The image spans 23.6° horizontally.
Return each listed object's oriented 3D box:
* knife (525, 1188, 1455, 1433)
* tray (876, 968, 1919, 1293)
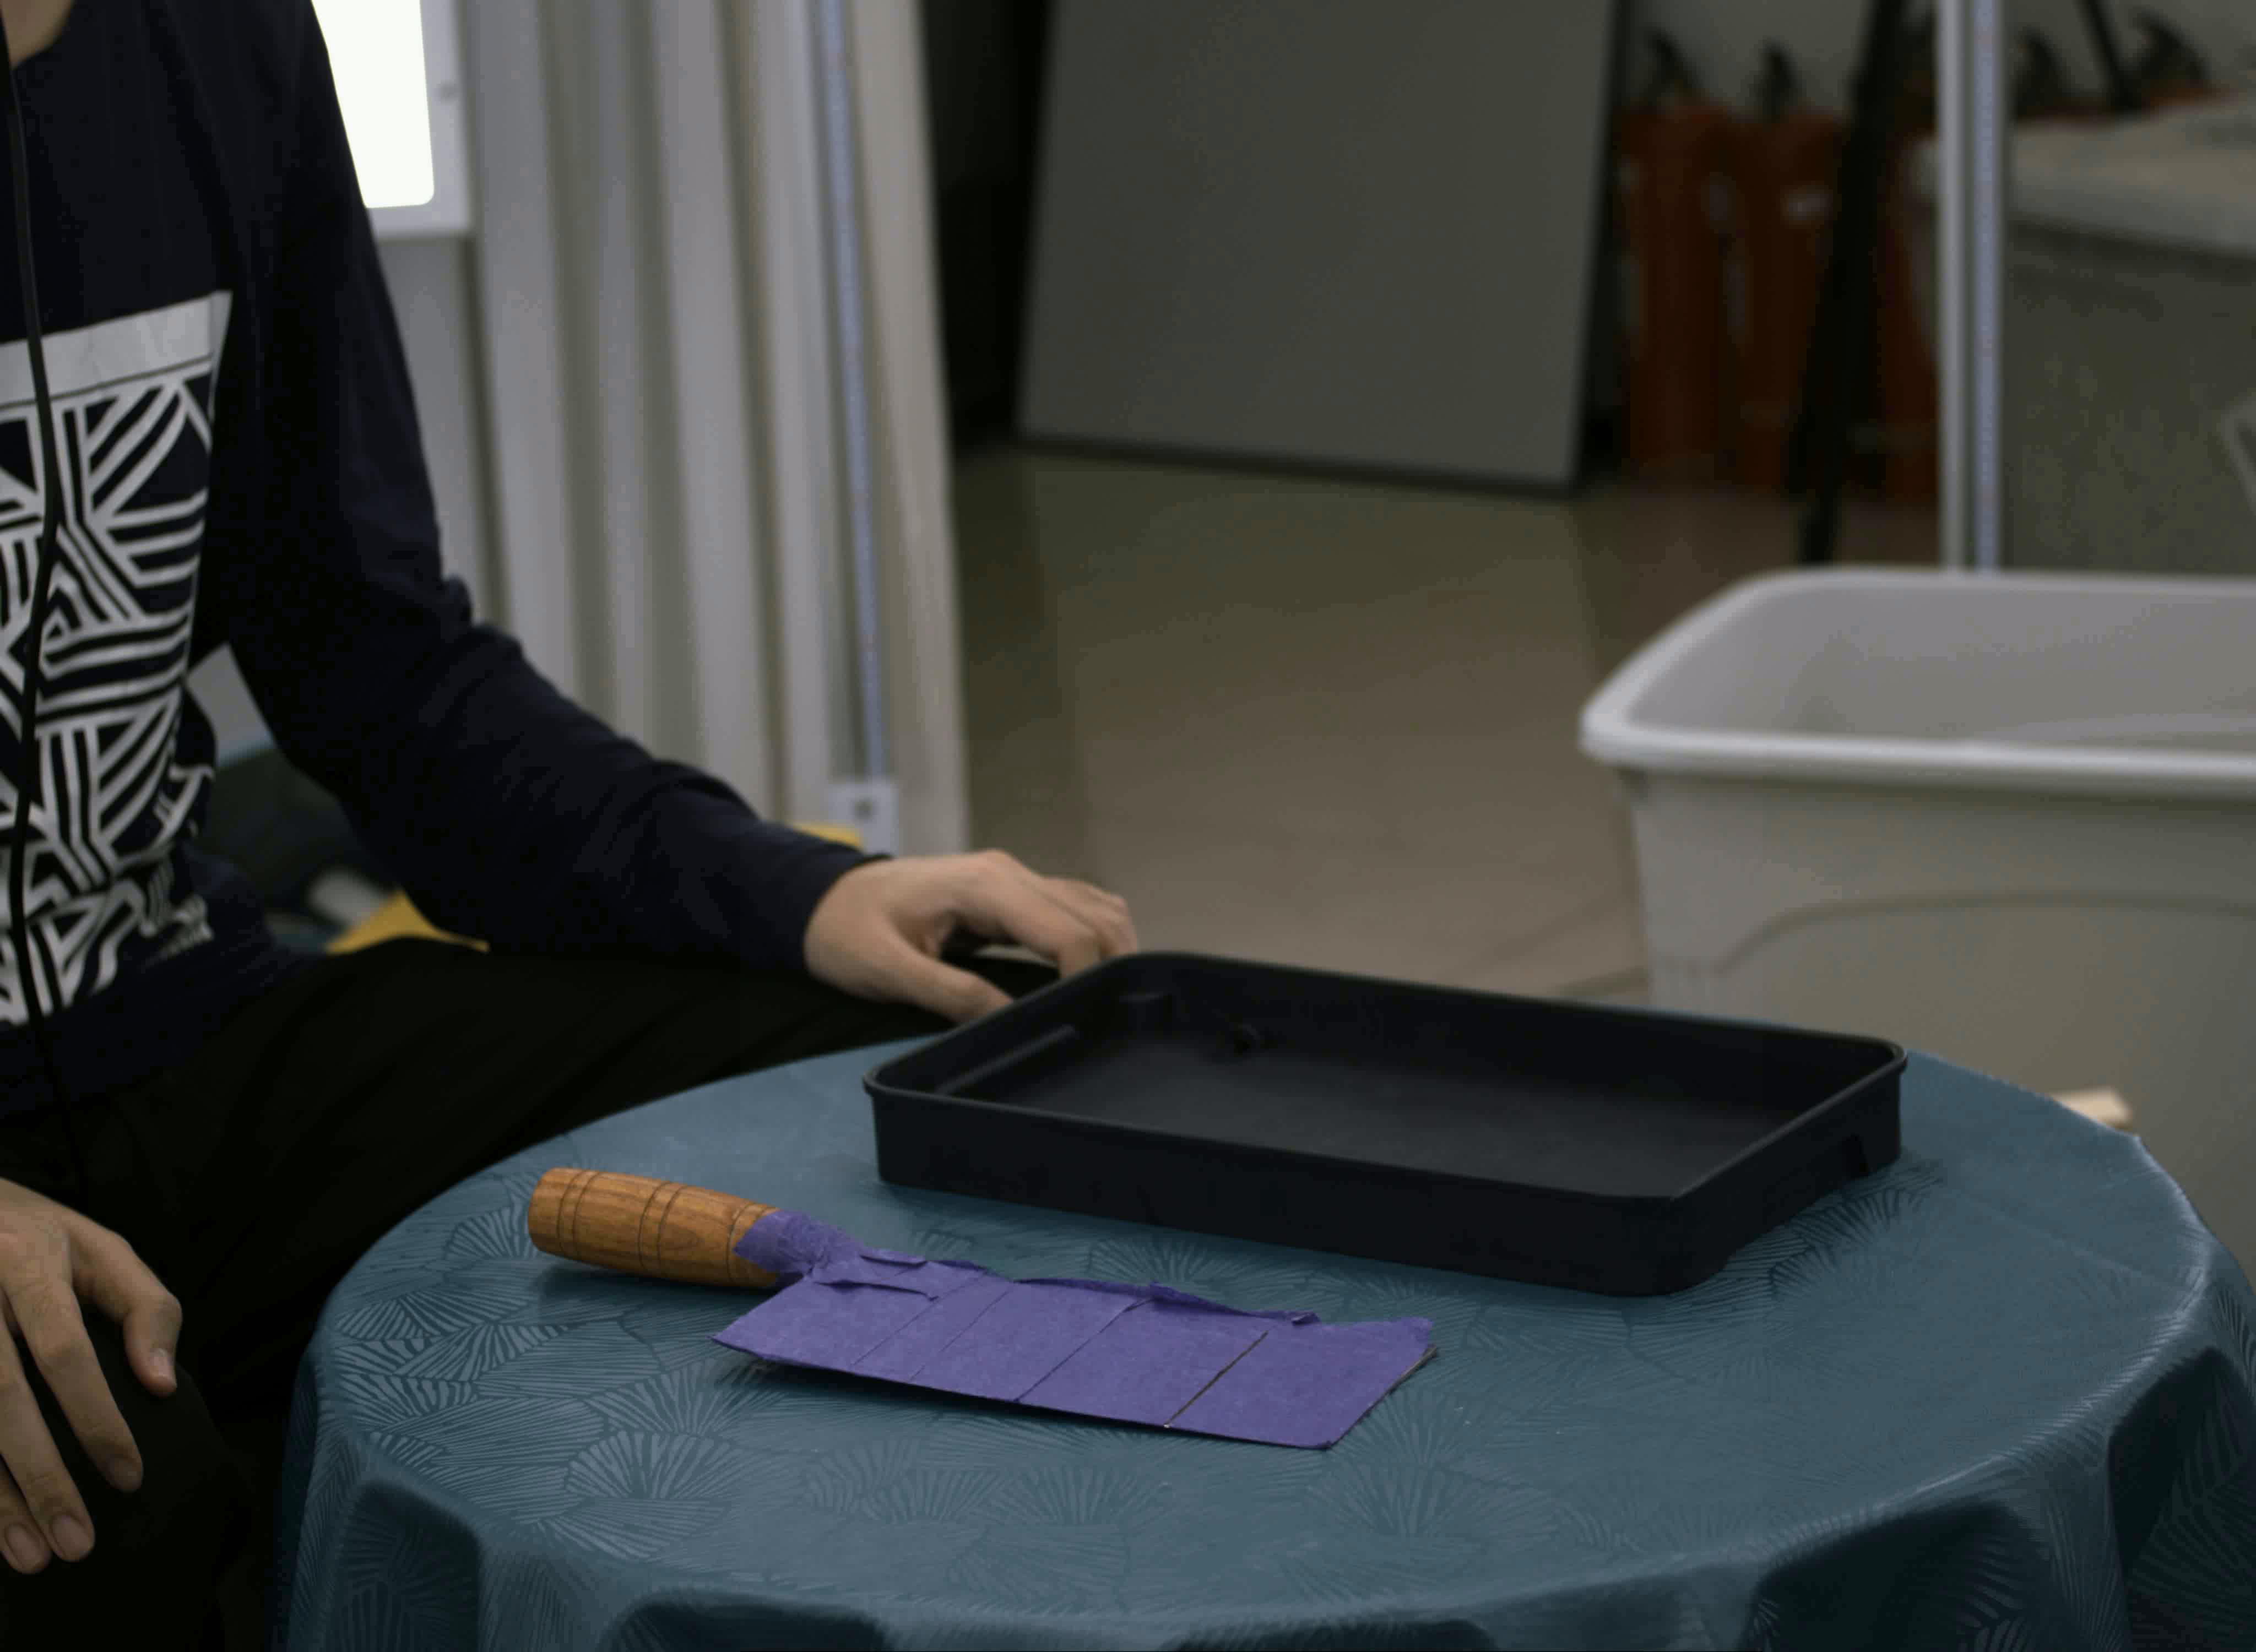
[{"bbox_3d":[-0.060,0.146,1.634,0.316,0.032,0.102,3,15,27],"label":"knife"},{"bbox_3d":[0.088,0.097,1.780,0.320,0.037,0.181,3,16,34],"label":"tray"}]
